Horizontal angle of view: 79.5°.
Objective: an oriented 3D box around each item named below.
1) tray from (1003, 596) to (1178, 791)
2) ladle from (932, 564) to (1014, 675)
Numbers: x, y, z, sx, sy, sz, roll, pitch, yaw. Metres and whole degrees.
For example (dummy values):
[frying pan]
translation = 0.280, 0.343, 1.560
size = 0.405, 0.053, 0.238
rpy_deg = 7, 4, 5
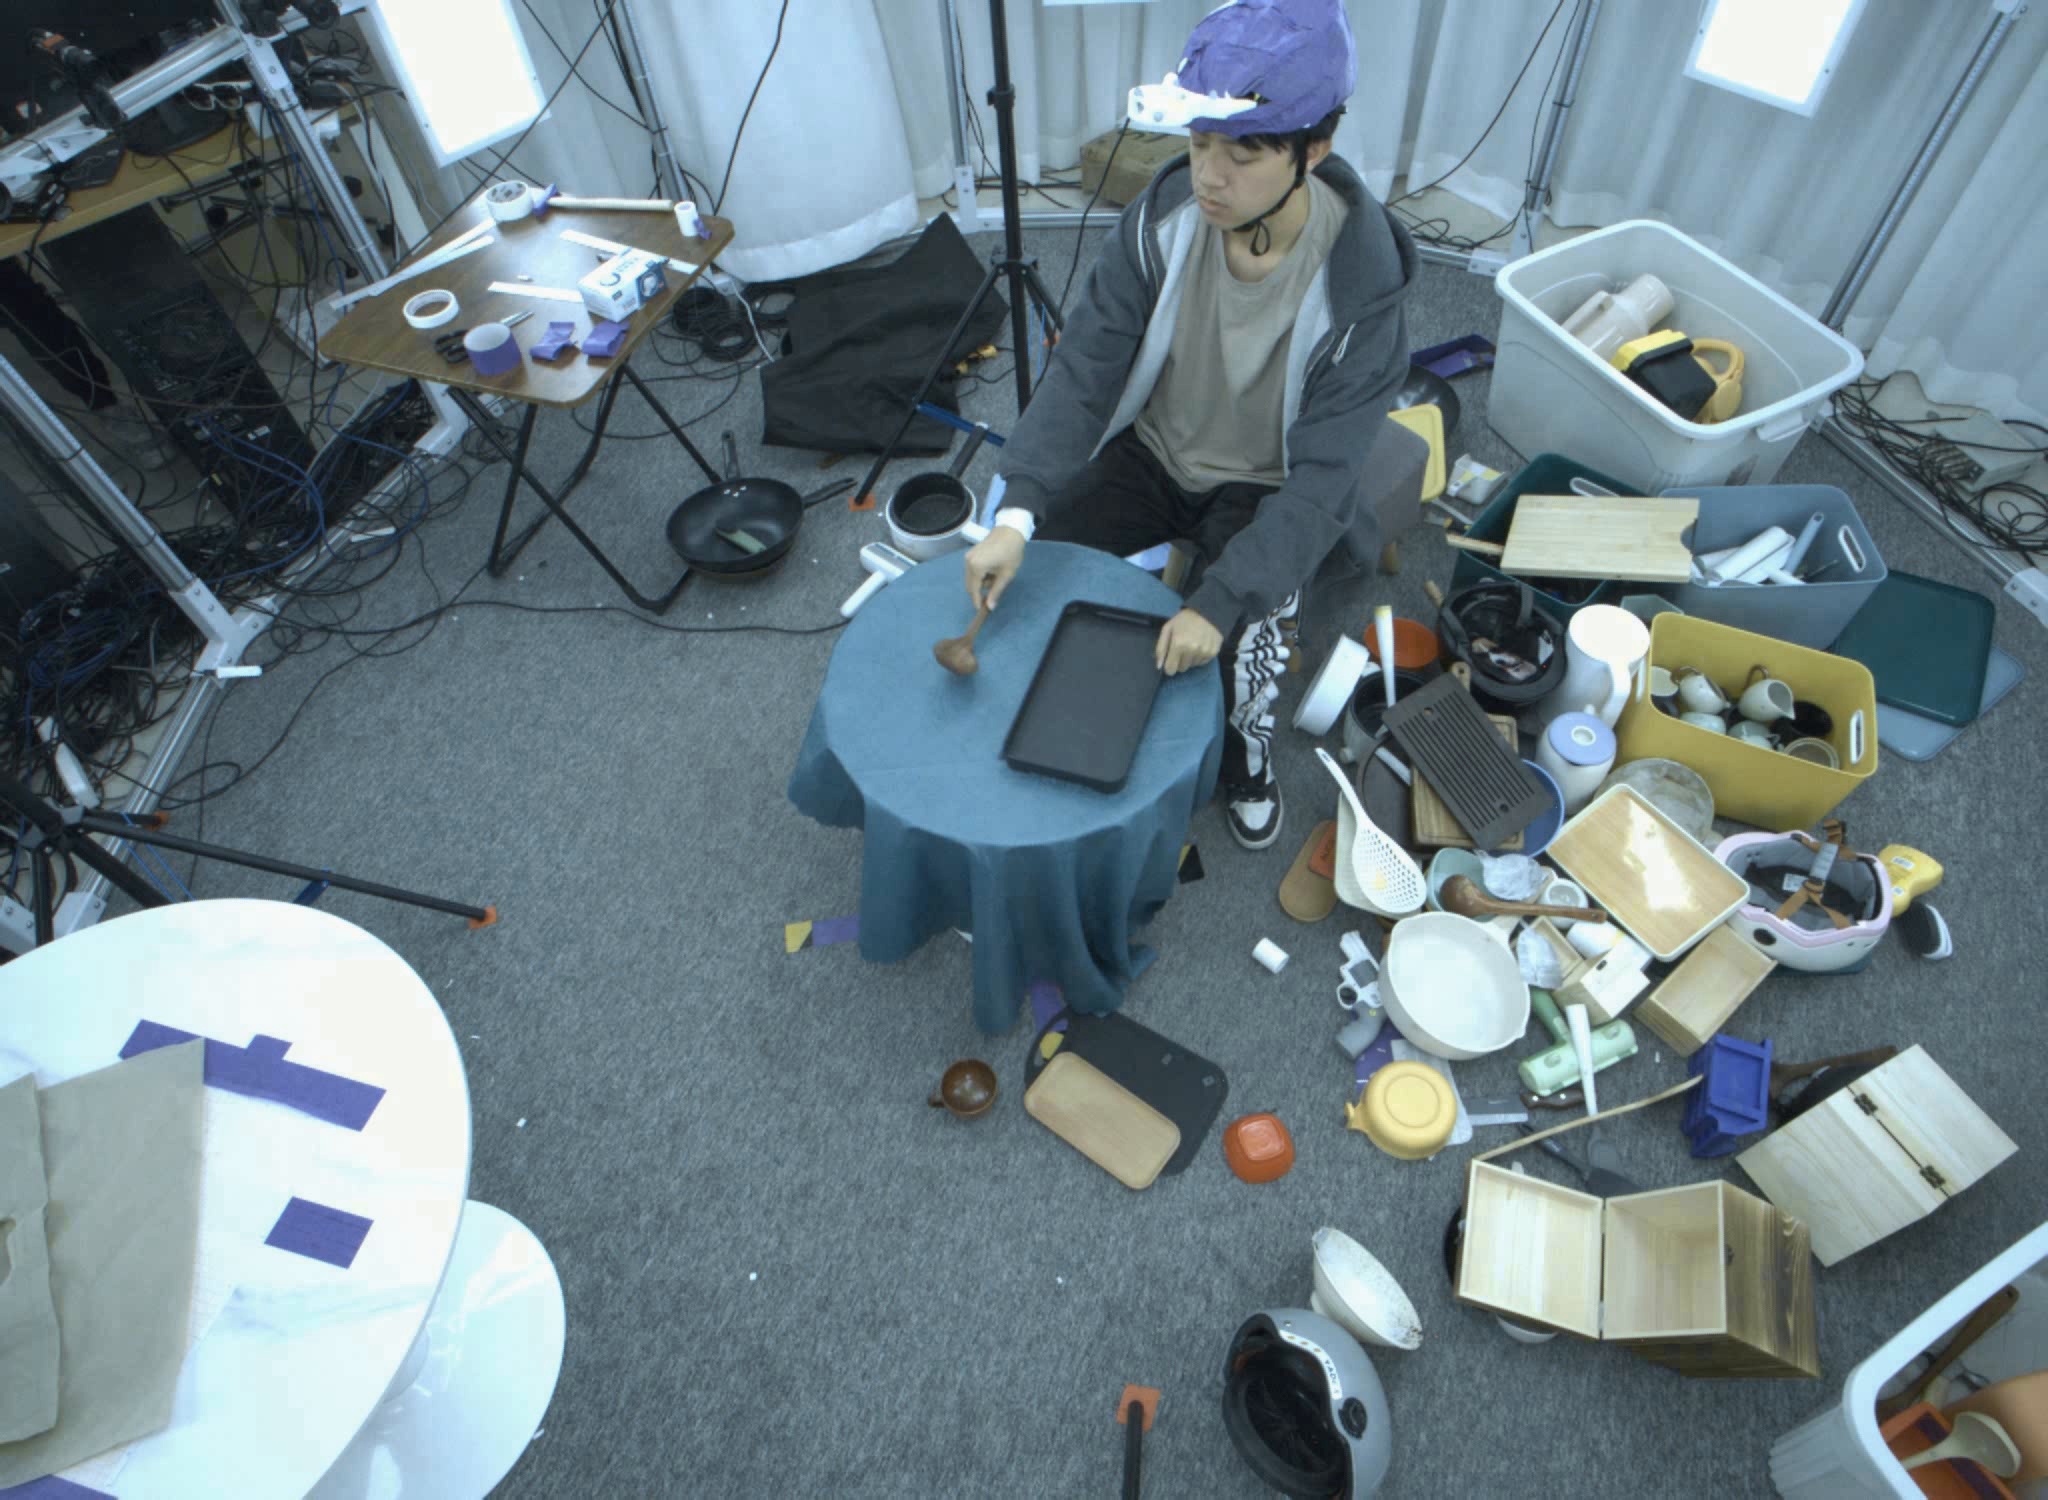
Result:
[tray]
translation = 0.102, -0.090, 1.821
size = 0.182, 0.037, 0.317
rpy_deg = 14, 58, 14
[ladle]
translation = -0.064, -0.211, 1.883
size = 0.077, 0.064, 0.260
rpy_deg = 35, 55, -10
